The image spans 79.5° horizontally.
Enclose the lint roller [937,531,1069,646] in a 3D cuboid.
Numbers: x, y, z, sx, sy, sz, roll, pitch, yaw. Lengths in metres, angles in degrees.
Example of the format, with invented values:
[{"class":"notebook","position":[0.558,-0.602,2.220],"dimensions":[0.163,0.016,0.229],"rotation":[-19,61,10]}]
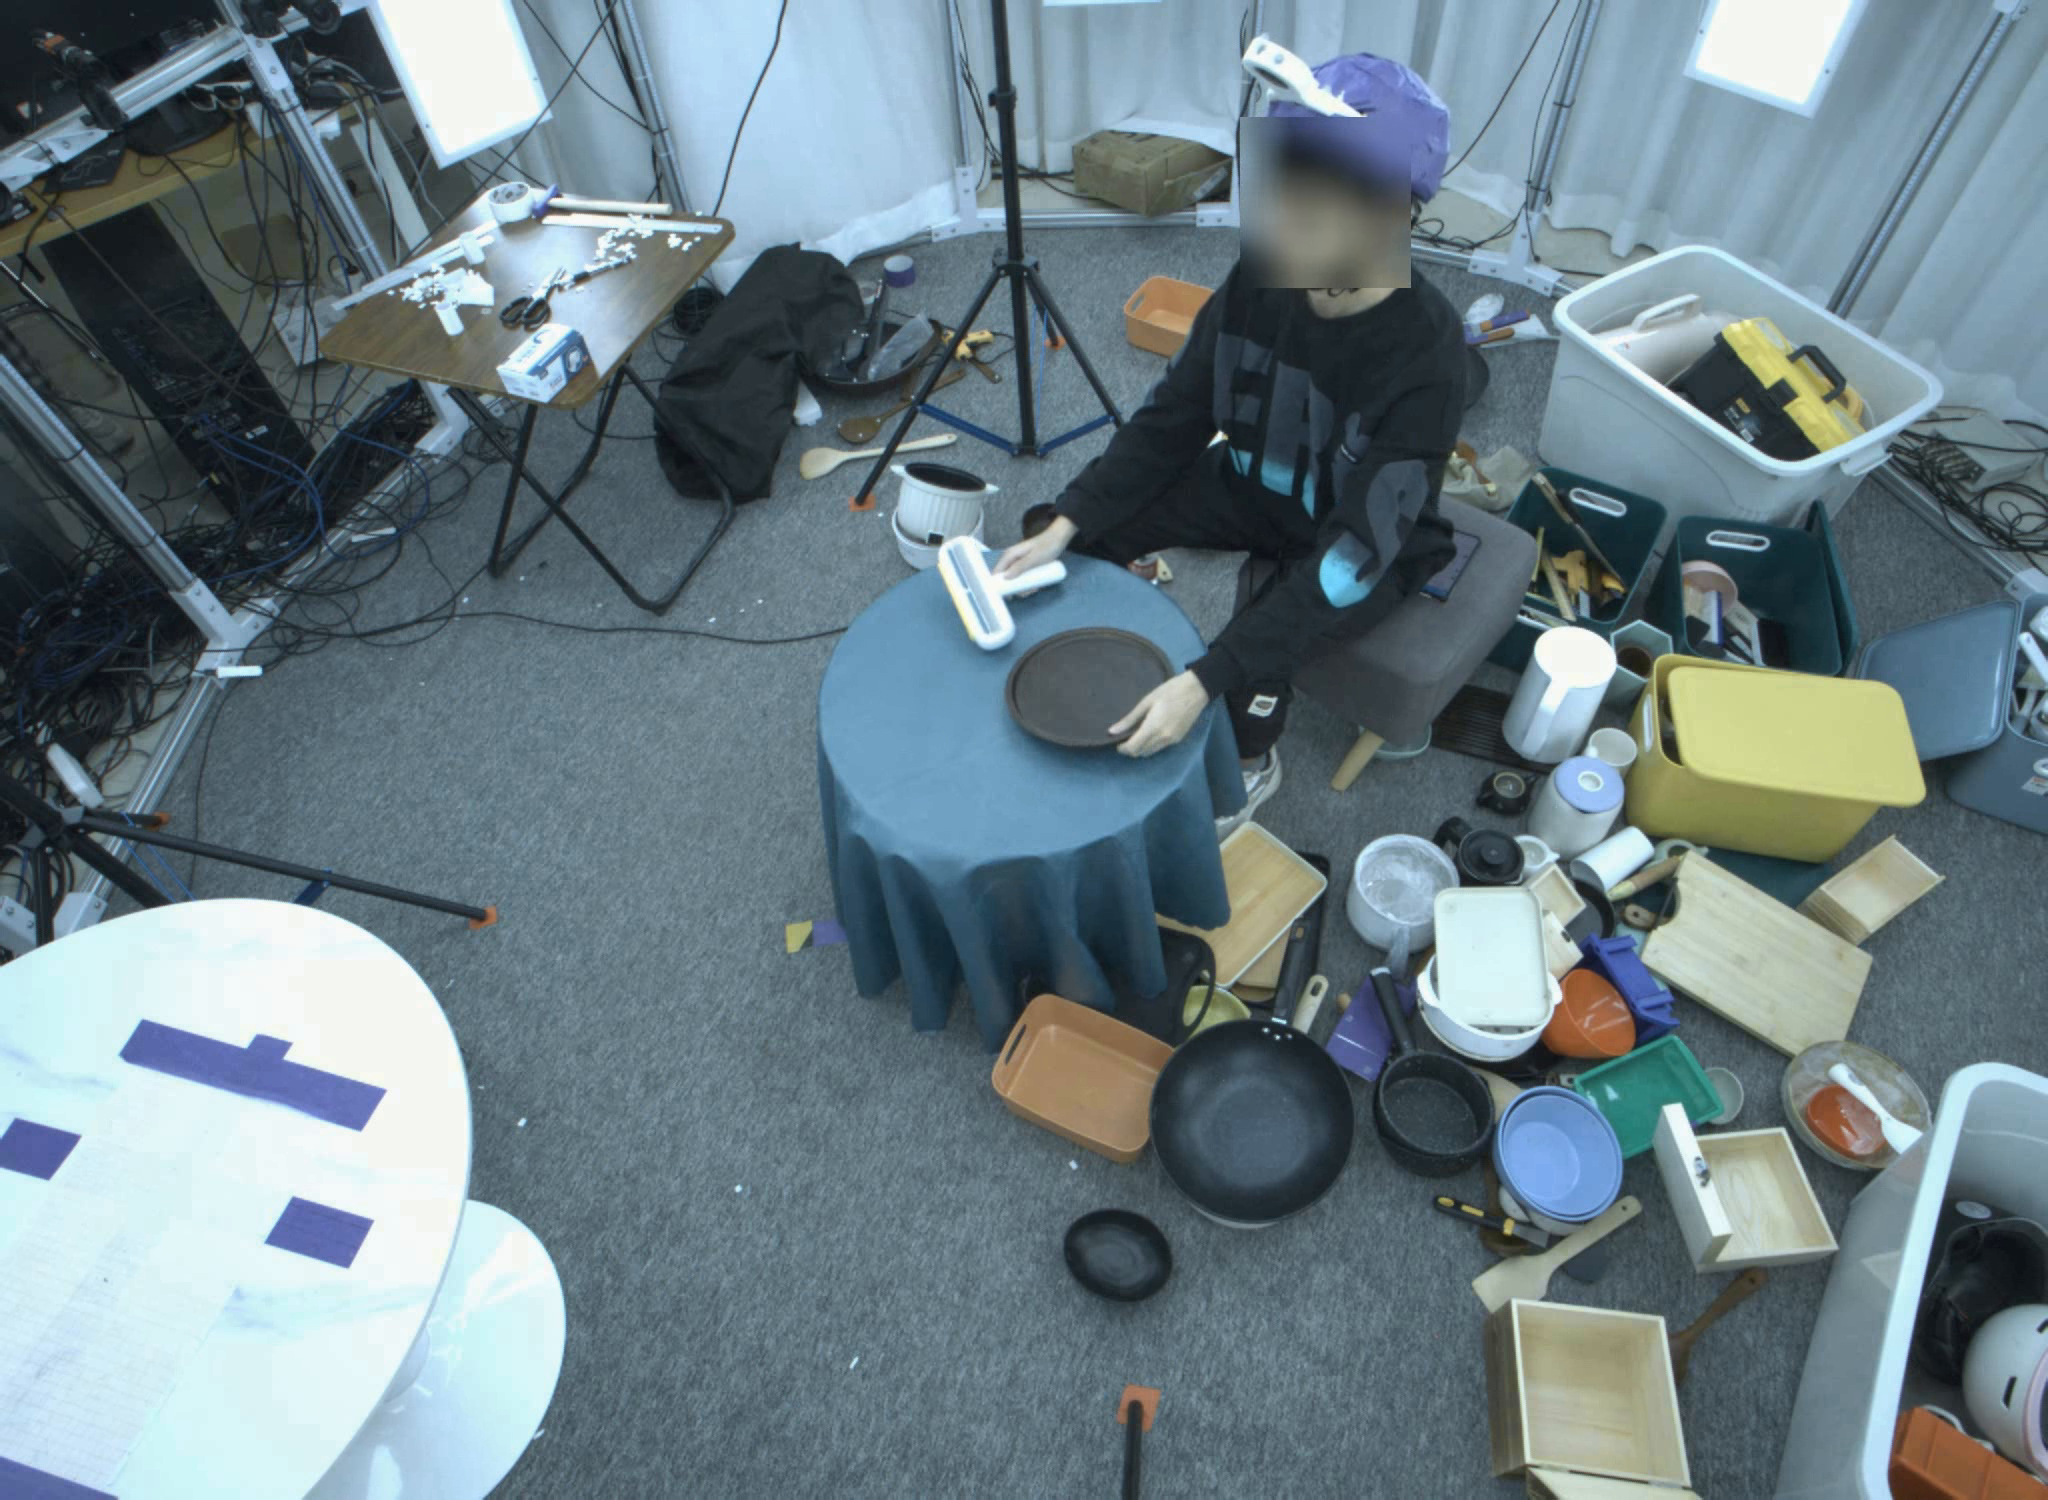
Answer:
[{"class":"lint roller","position":[-0.022,-0.265,1.915],"dimensions":[0.193,0.074,0.190],"rotation":[-18,70,-8]}]

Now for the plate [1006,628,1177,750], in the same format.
[{"class":"plate","position":[0.099,-0.092,1.812],"dimensions":[0.254,0.029,0.252],"rotation":[-2,46,3]}]
